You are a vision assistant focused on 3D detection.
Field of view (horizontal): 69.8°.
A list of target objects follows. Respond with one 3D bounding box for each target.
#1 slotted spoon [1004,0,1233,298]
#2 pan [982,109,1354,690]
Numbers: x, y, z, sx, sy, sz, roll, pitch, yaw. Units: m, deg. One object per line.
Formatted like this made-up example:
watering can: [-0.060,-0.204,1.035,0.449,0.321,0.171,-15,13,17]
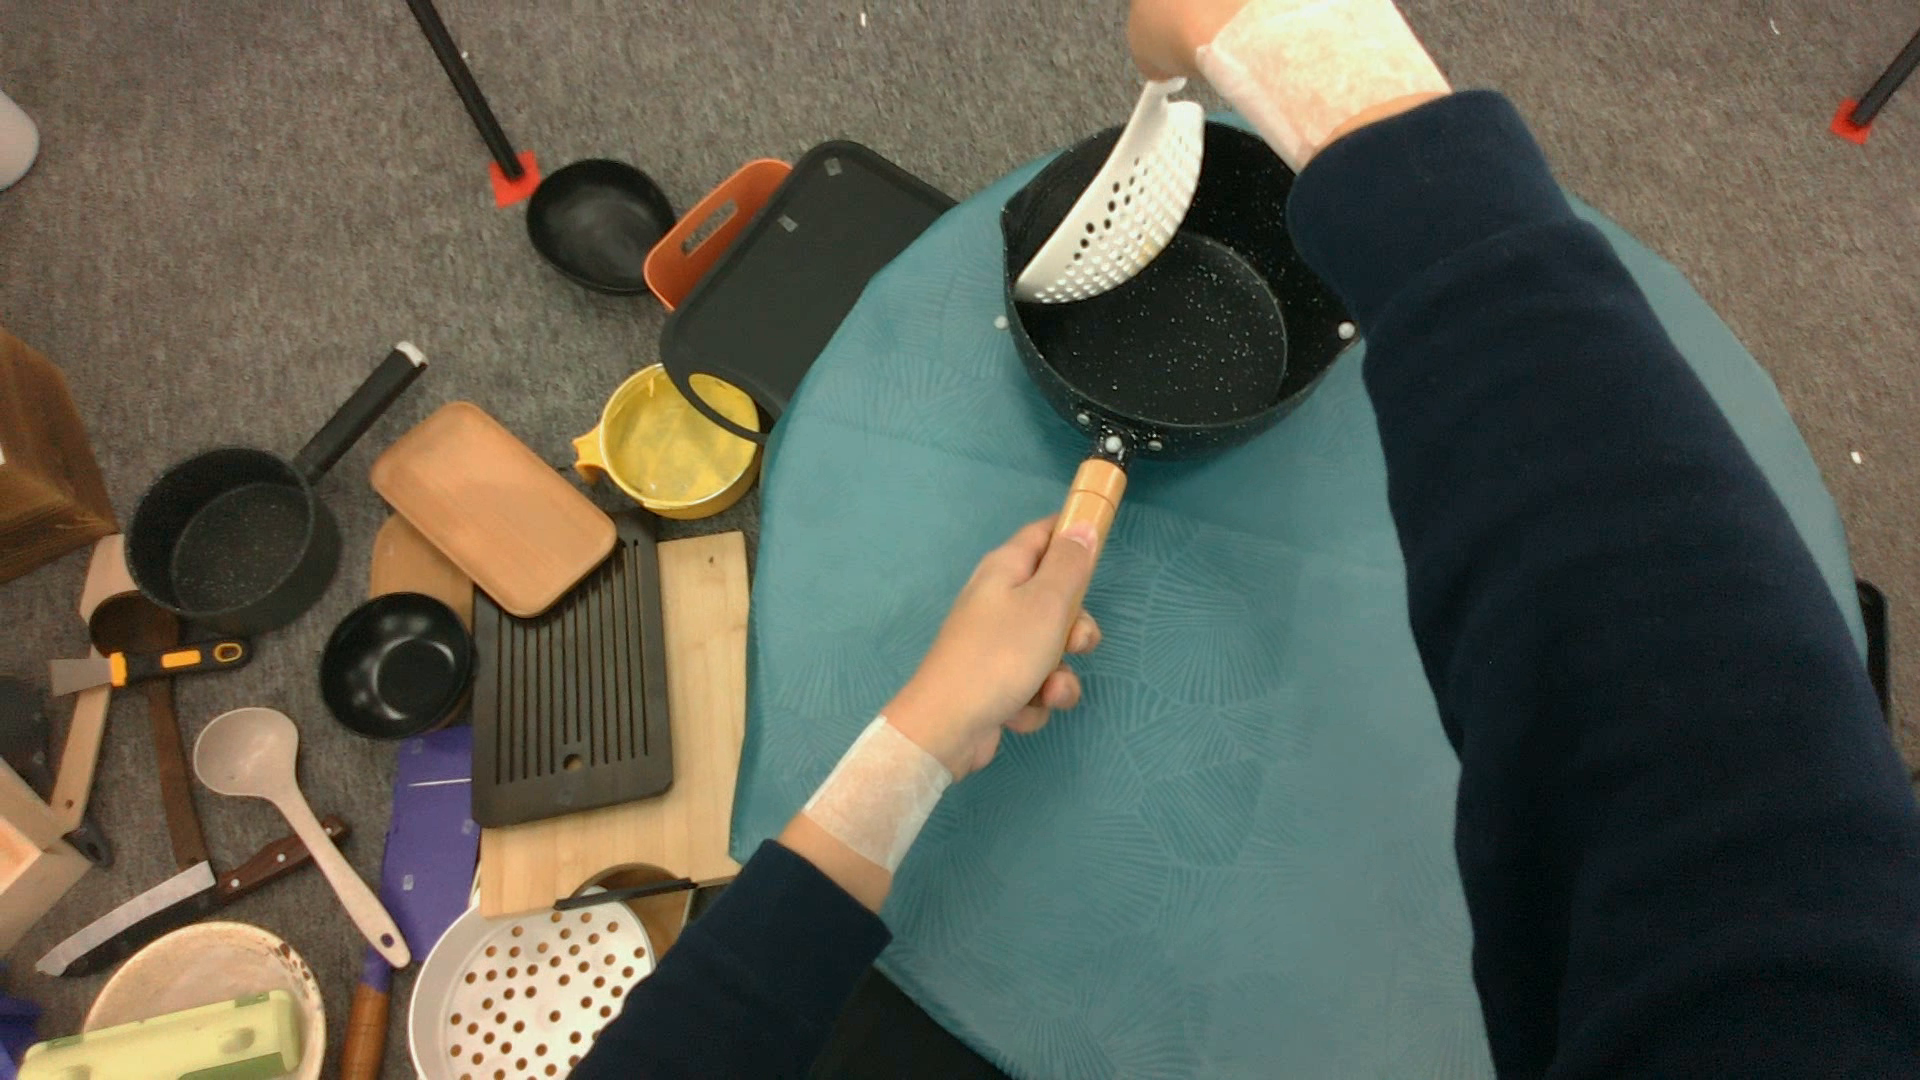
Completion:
slotted spoon: [0.090,-0.188,0.634,0.137,0.347,0.050,-41,83,-9]
pan: [0.082,-0.068,0.723,0.207,0.108,0.344,19,70,5]
